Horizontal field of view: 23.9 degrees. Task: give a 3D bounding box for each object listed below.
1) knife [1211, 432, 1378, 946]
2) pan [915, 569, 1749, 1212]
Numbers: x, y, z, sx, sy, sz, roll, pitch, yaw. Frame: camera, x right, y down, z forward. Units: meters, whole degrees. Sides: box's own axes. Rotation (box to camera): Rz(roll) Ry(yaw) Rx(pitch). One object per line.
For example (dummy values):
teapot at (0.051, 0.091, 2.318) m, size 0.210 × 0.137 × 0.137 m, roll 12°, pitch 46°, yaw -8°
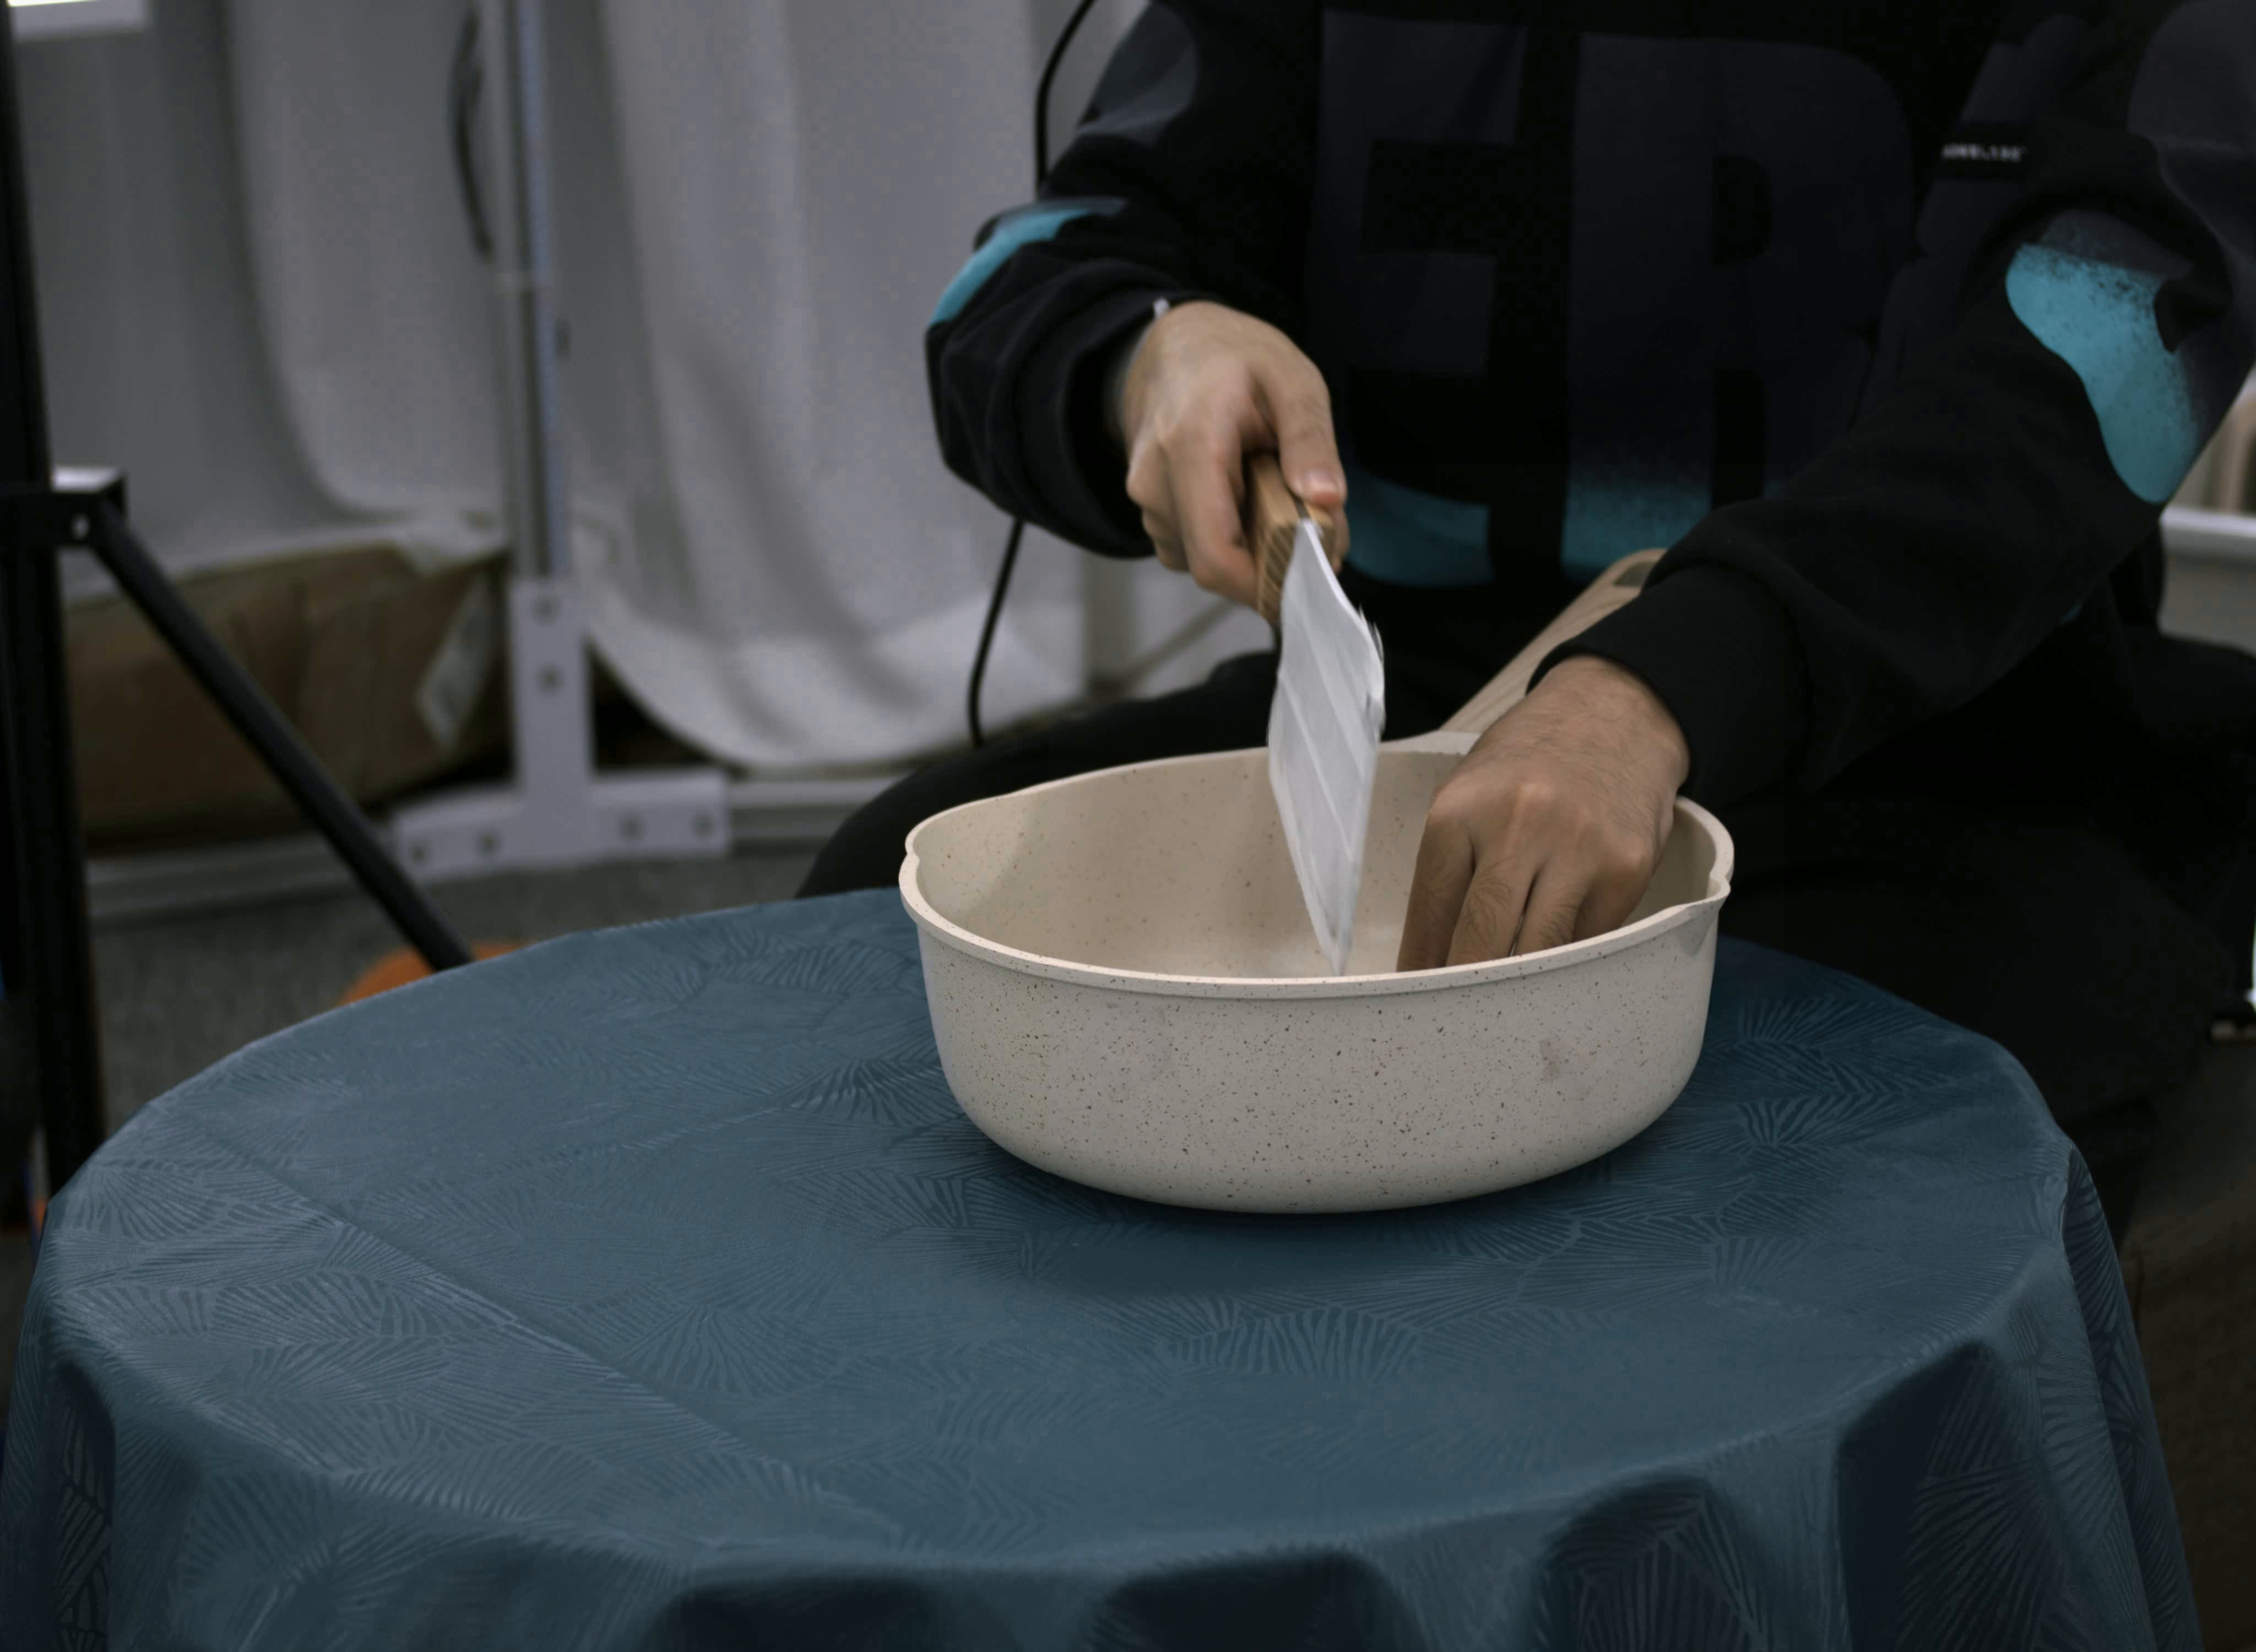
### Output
knife at (0.052, -0.060, 1.649) m, size 0.021 × 0.114 × 0.318 m, roll 5°, pitch 22°, yaw -7°
pan at (0.099, 0.017, 1.683) m, size 0.267 × 0.102 × 0.428 m, roll 2°, pitch 16°, yaw 25°
